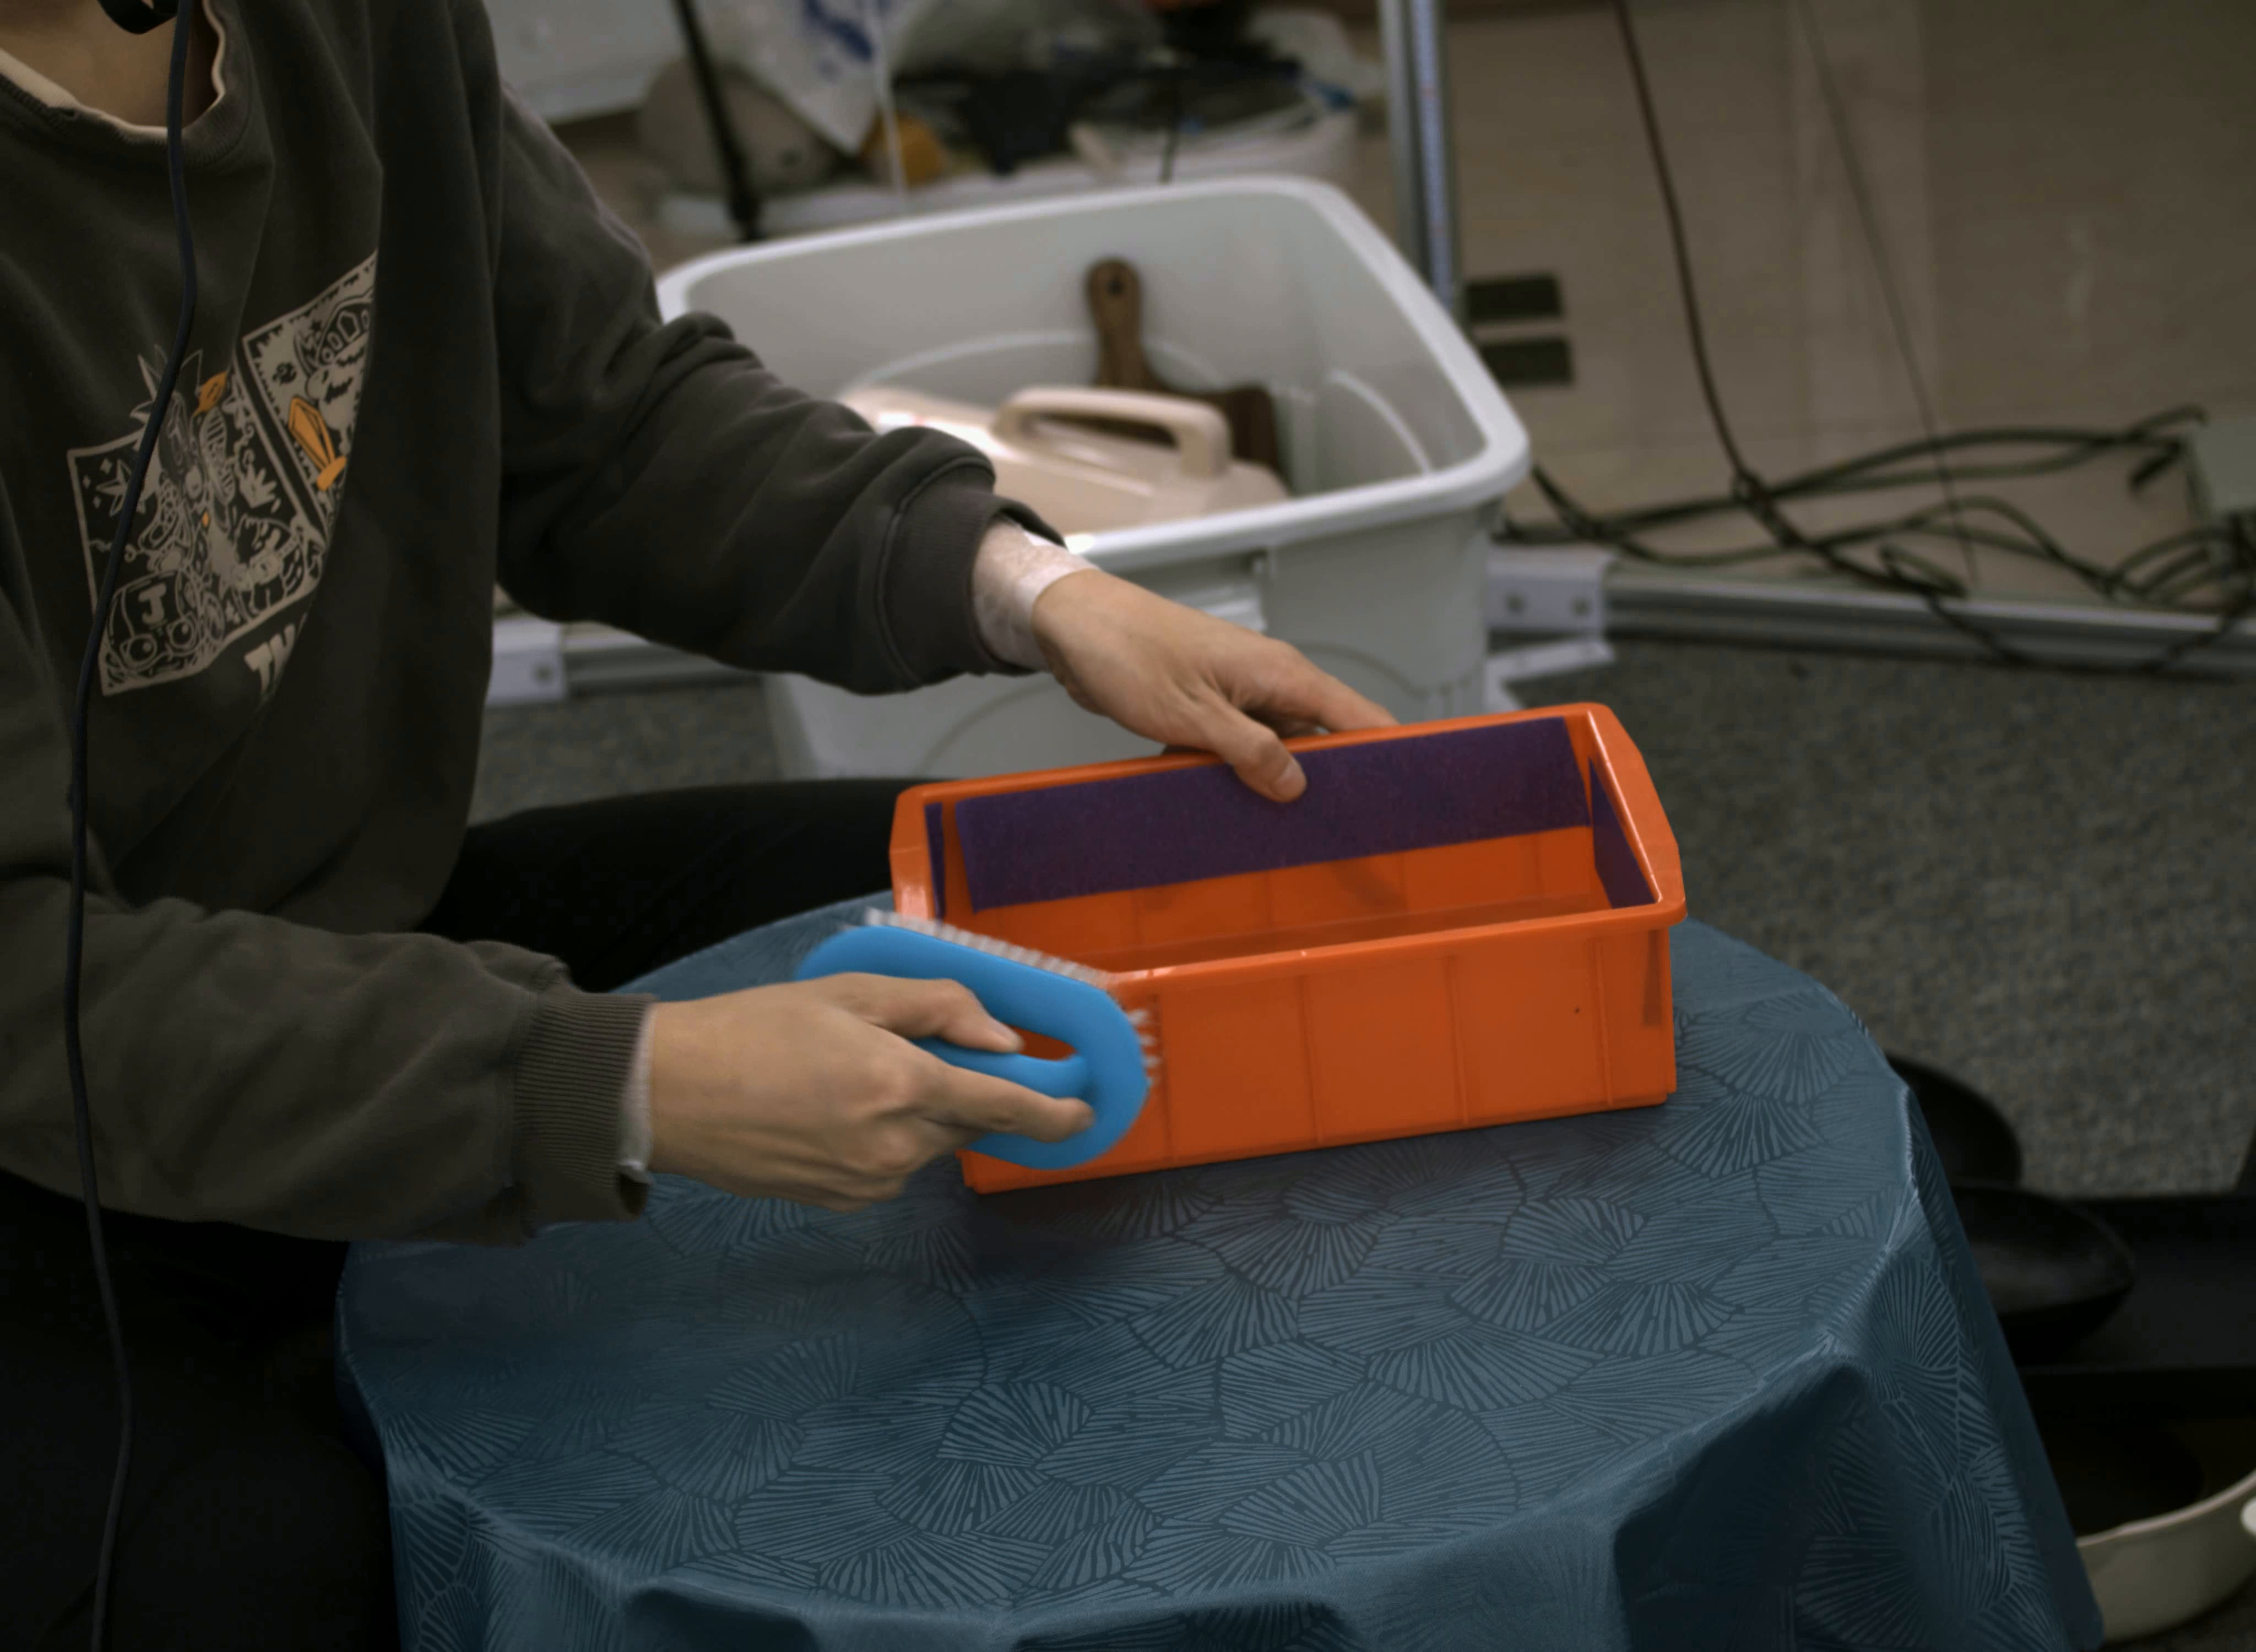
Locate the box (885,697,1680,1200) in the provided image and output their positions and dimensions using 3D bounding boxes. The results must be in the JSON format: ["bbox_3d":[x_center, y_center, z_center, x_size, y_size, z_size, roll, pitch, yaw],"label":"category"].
[{"bbox_3d":[0.061,0.048,2.223,0.303,0.098,0.203,-7,25,-1],"label":"box"}]

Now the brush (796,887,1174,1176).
[{"bbox_3d":[-0.056,0.080,2.079,0.141,0.085,0.063,20,14,4],"label":"brush"}]
